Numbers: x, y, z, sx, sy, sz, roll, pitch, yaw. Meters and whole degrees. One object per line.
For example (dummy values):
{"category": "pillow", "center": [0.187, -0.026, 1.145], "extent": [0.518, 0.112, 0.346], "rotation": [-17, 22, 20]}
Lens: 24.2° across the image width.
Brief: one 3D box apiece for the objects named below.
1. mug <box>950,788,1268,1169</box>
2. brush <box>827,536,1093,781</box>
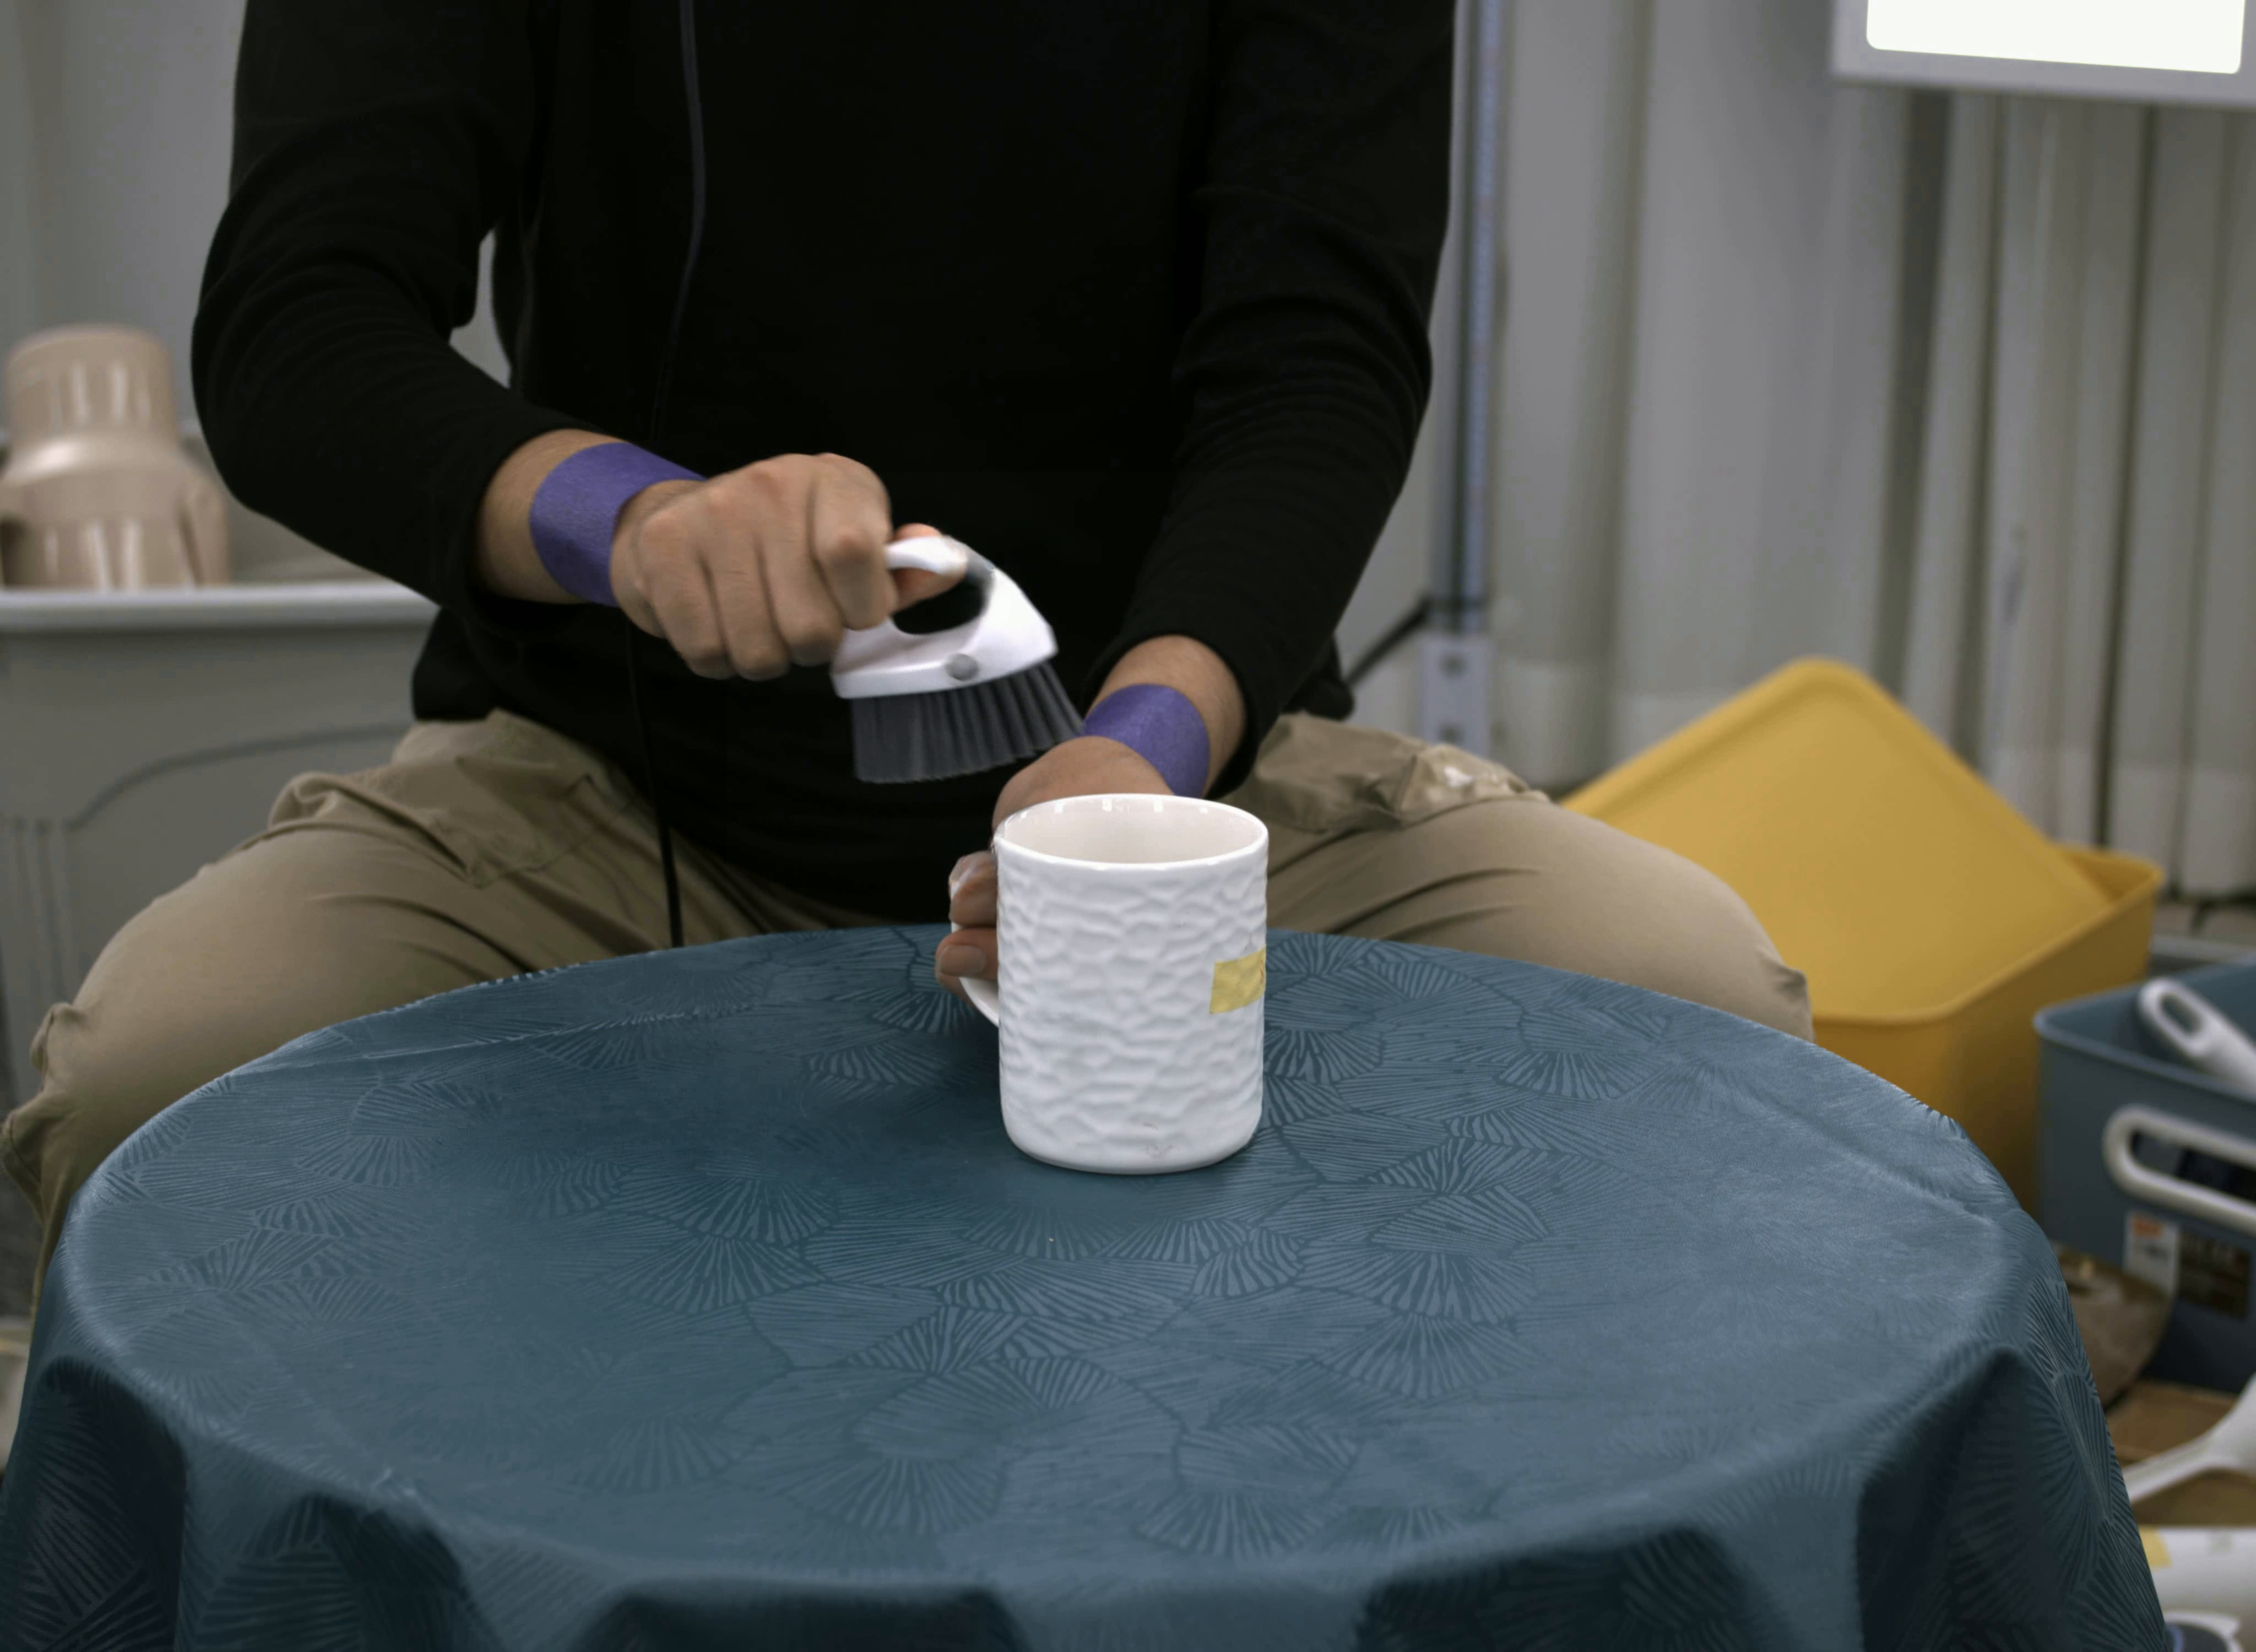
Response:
{"category": "mug", "center": [-0.011, 0.045, 1.668], "extent": [0.116, 0.103, 0.085], "rotation": [14, 21, 40]}
{"category": "brush", "center": [-0.059, -0.056, 1.675], "extent": [0.050, 0.073, 0.098], "rotation": [-21, 13, -37]}
